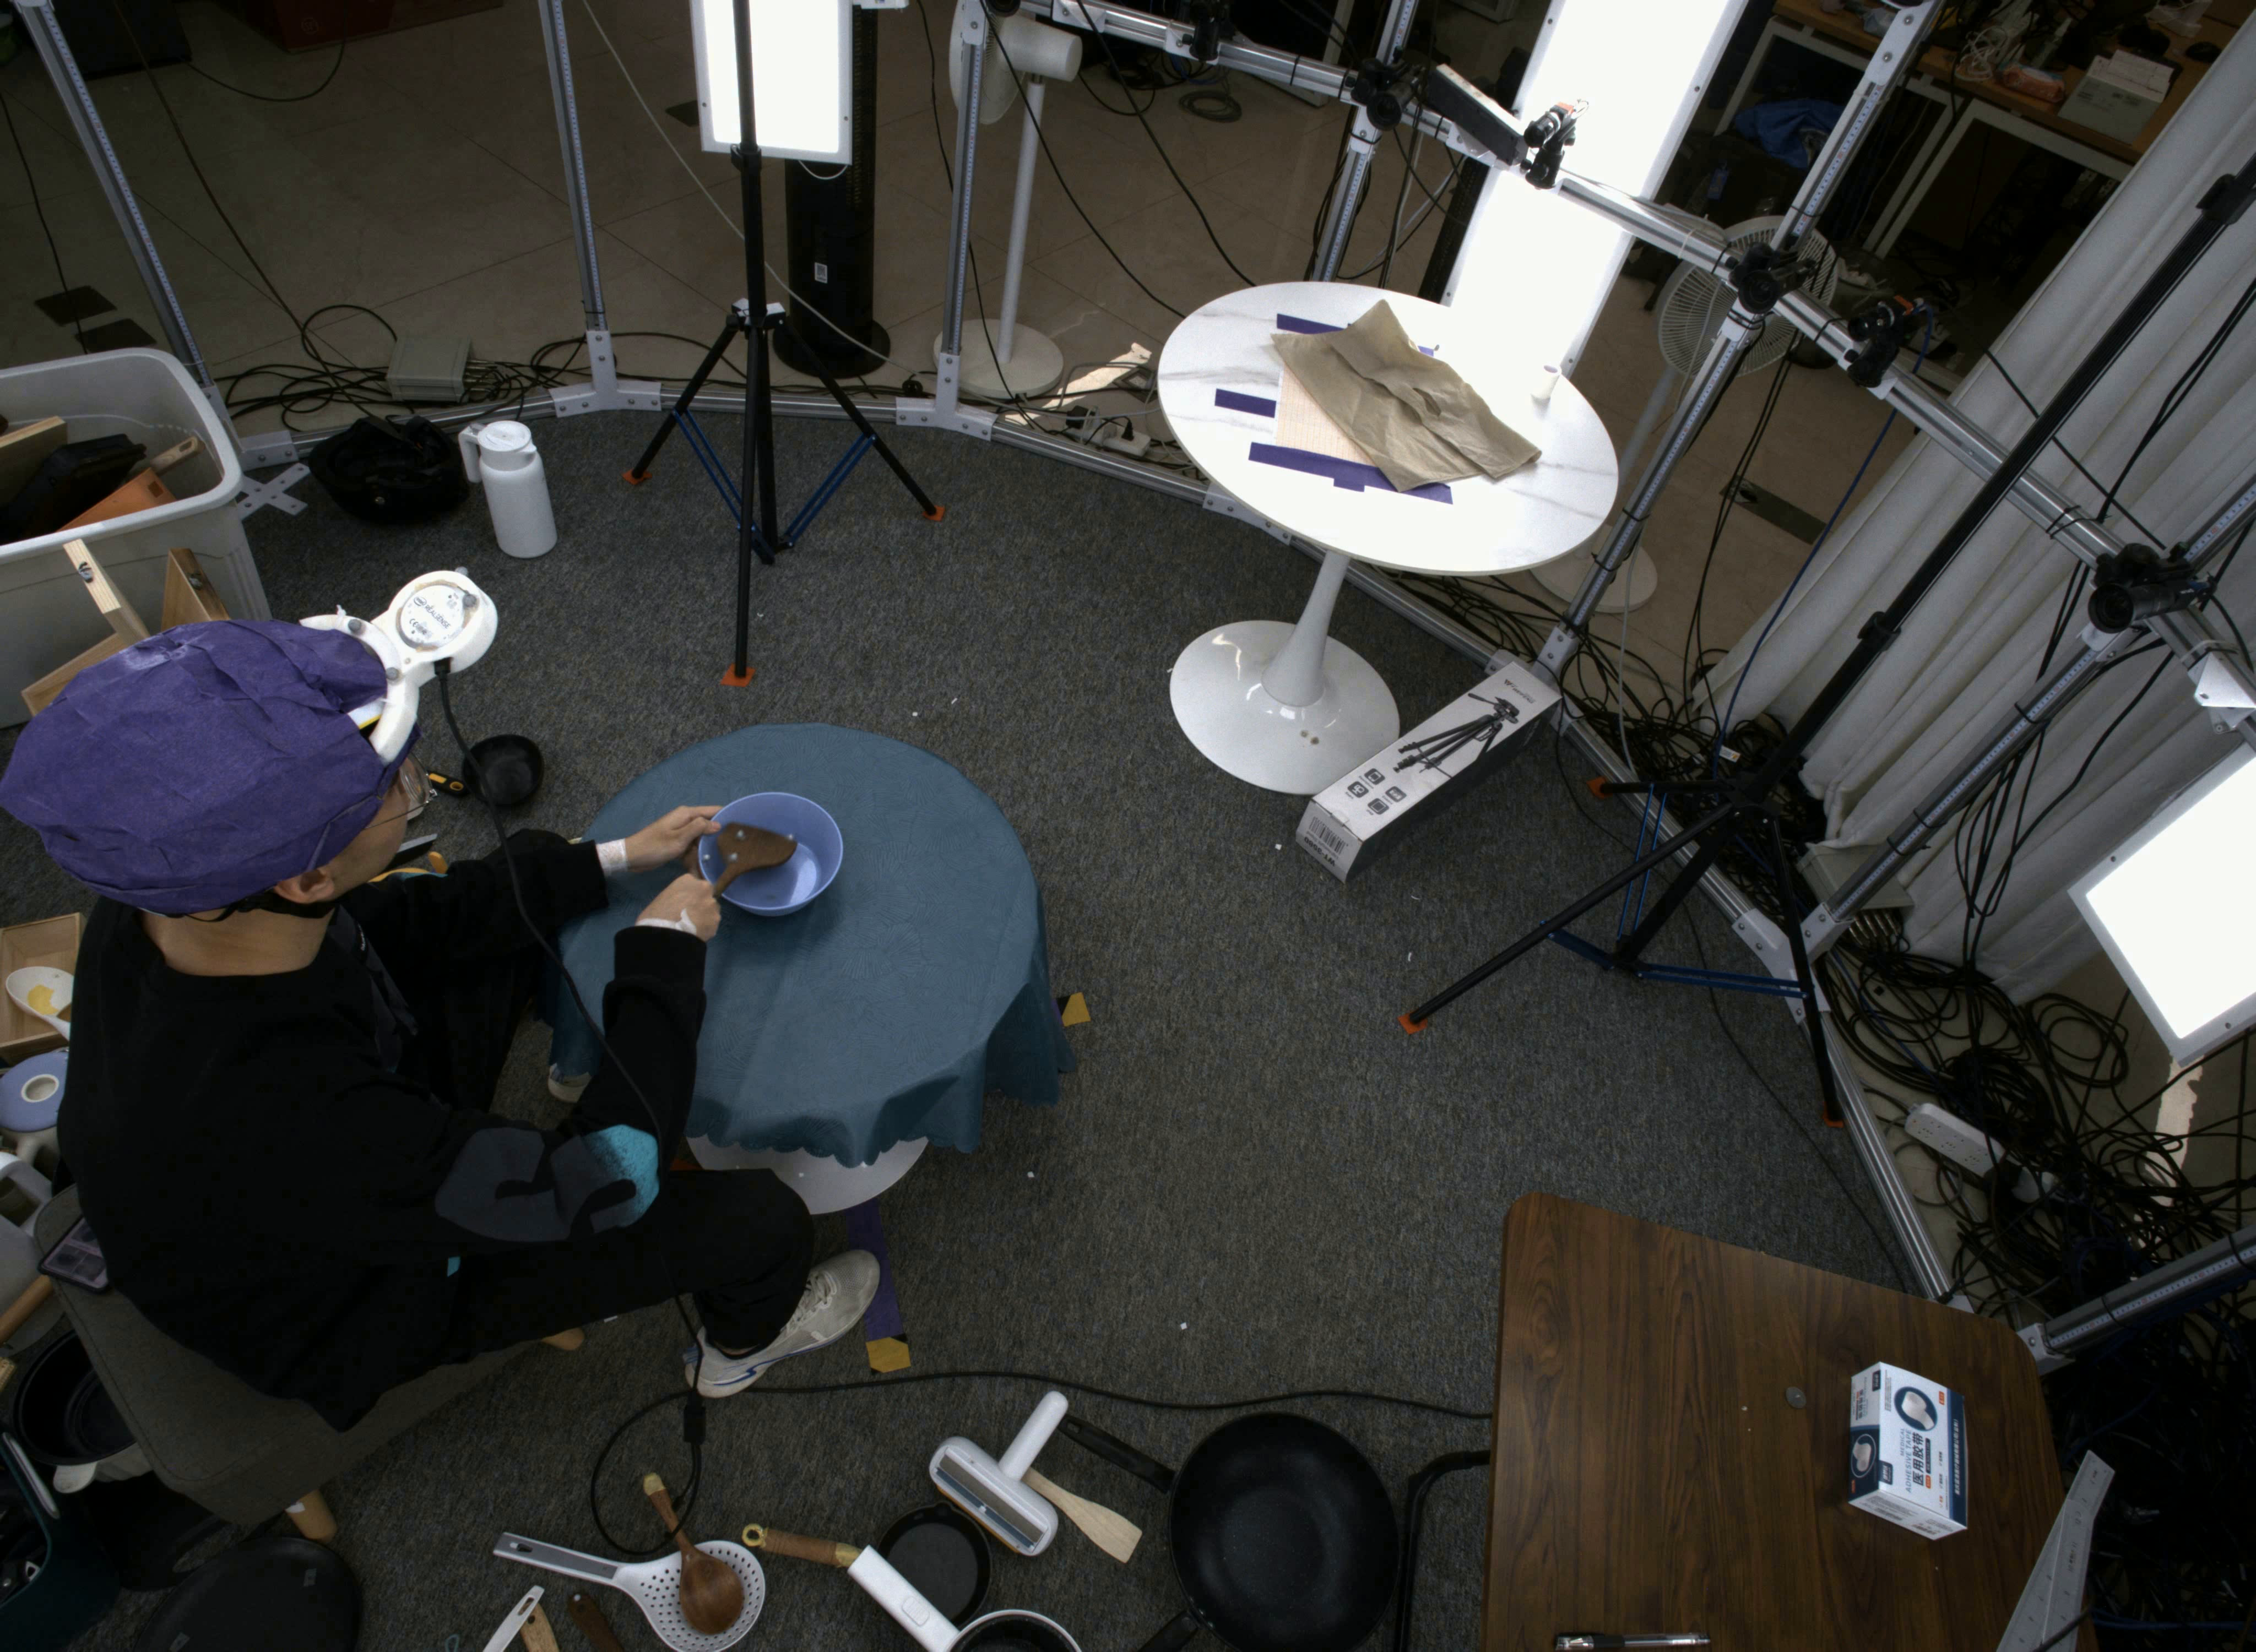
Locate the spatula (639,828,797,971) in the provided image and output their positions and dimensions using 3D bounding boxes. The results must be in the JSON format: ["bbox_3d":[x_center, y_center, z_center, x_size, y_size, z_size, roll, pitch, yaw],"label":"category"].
[{"bbox_3d":[-0.477,0.075,1.481,0.095,0.016,0.380,17,19,-2],"label":"spatula"}]

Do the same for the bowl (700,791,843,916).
[{"bbox_3d":[-0.447,0.045,1.638,0.175,0.072,0.173,6,56,-7],"label":"bowl"}]
